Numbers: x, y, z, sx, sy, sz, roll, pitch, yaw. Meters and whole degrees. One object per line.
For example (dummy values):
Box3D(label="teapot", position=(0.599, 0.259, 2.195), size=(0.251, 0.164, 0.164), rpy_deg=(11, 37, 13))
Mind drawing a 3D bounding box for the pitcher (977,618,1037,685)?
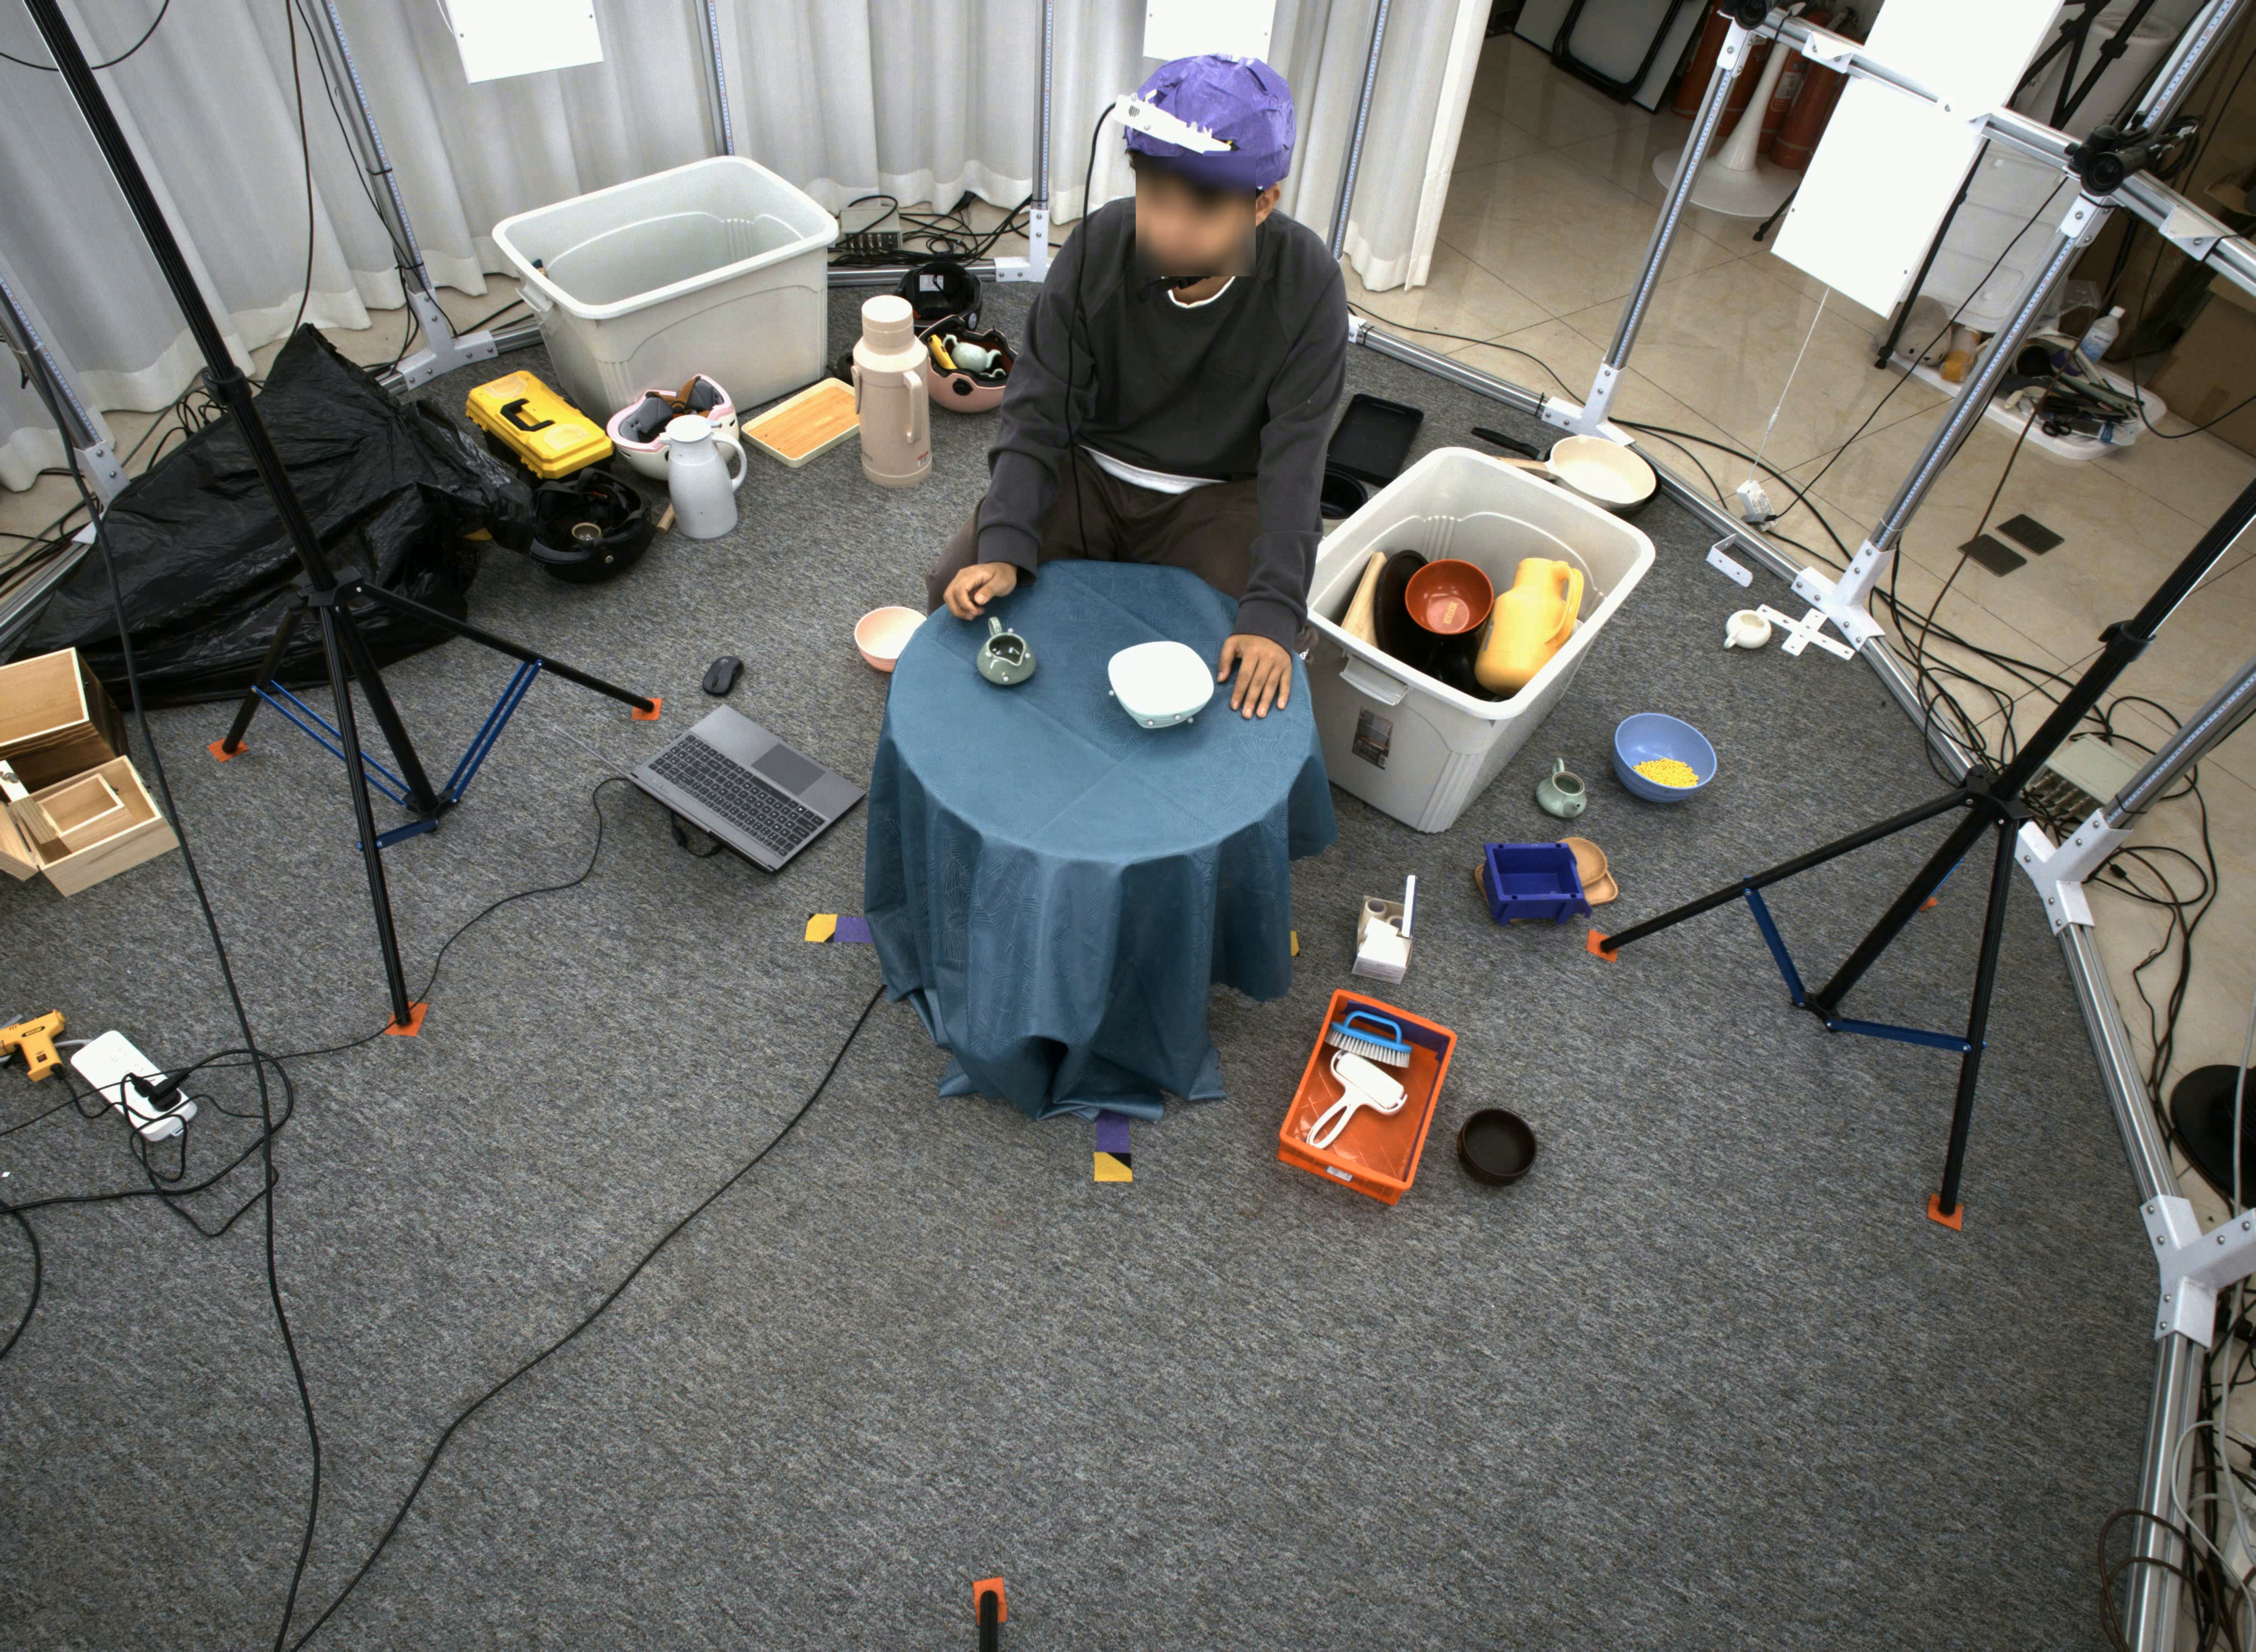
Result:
Box3D(label="pitcher", position=(-0.174, -0.246, 1.830), size=(0.084, 0.055, 0.115), rpy_deg=(-17, 52, -19))

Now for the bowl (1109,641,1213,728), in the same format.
Box3D(label="bowl", position=(0.044, -0.190, 1.798), size=(0.151, 0.057, 0.155), rpy_deg=(2, 50, -3))
